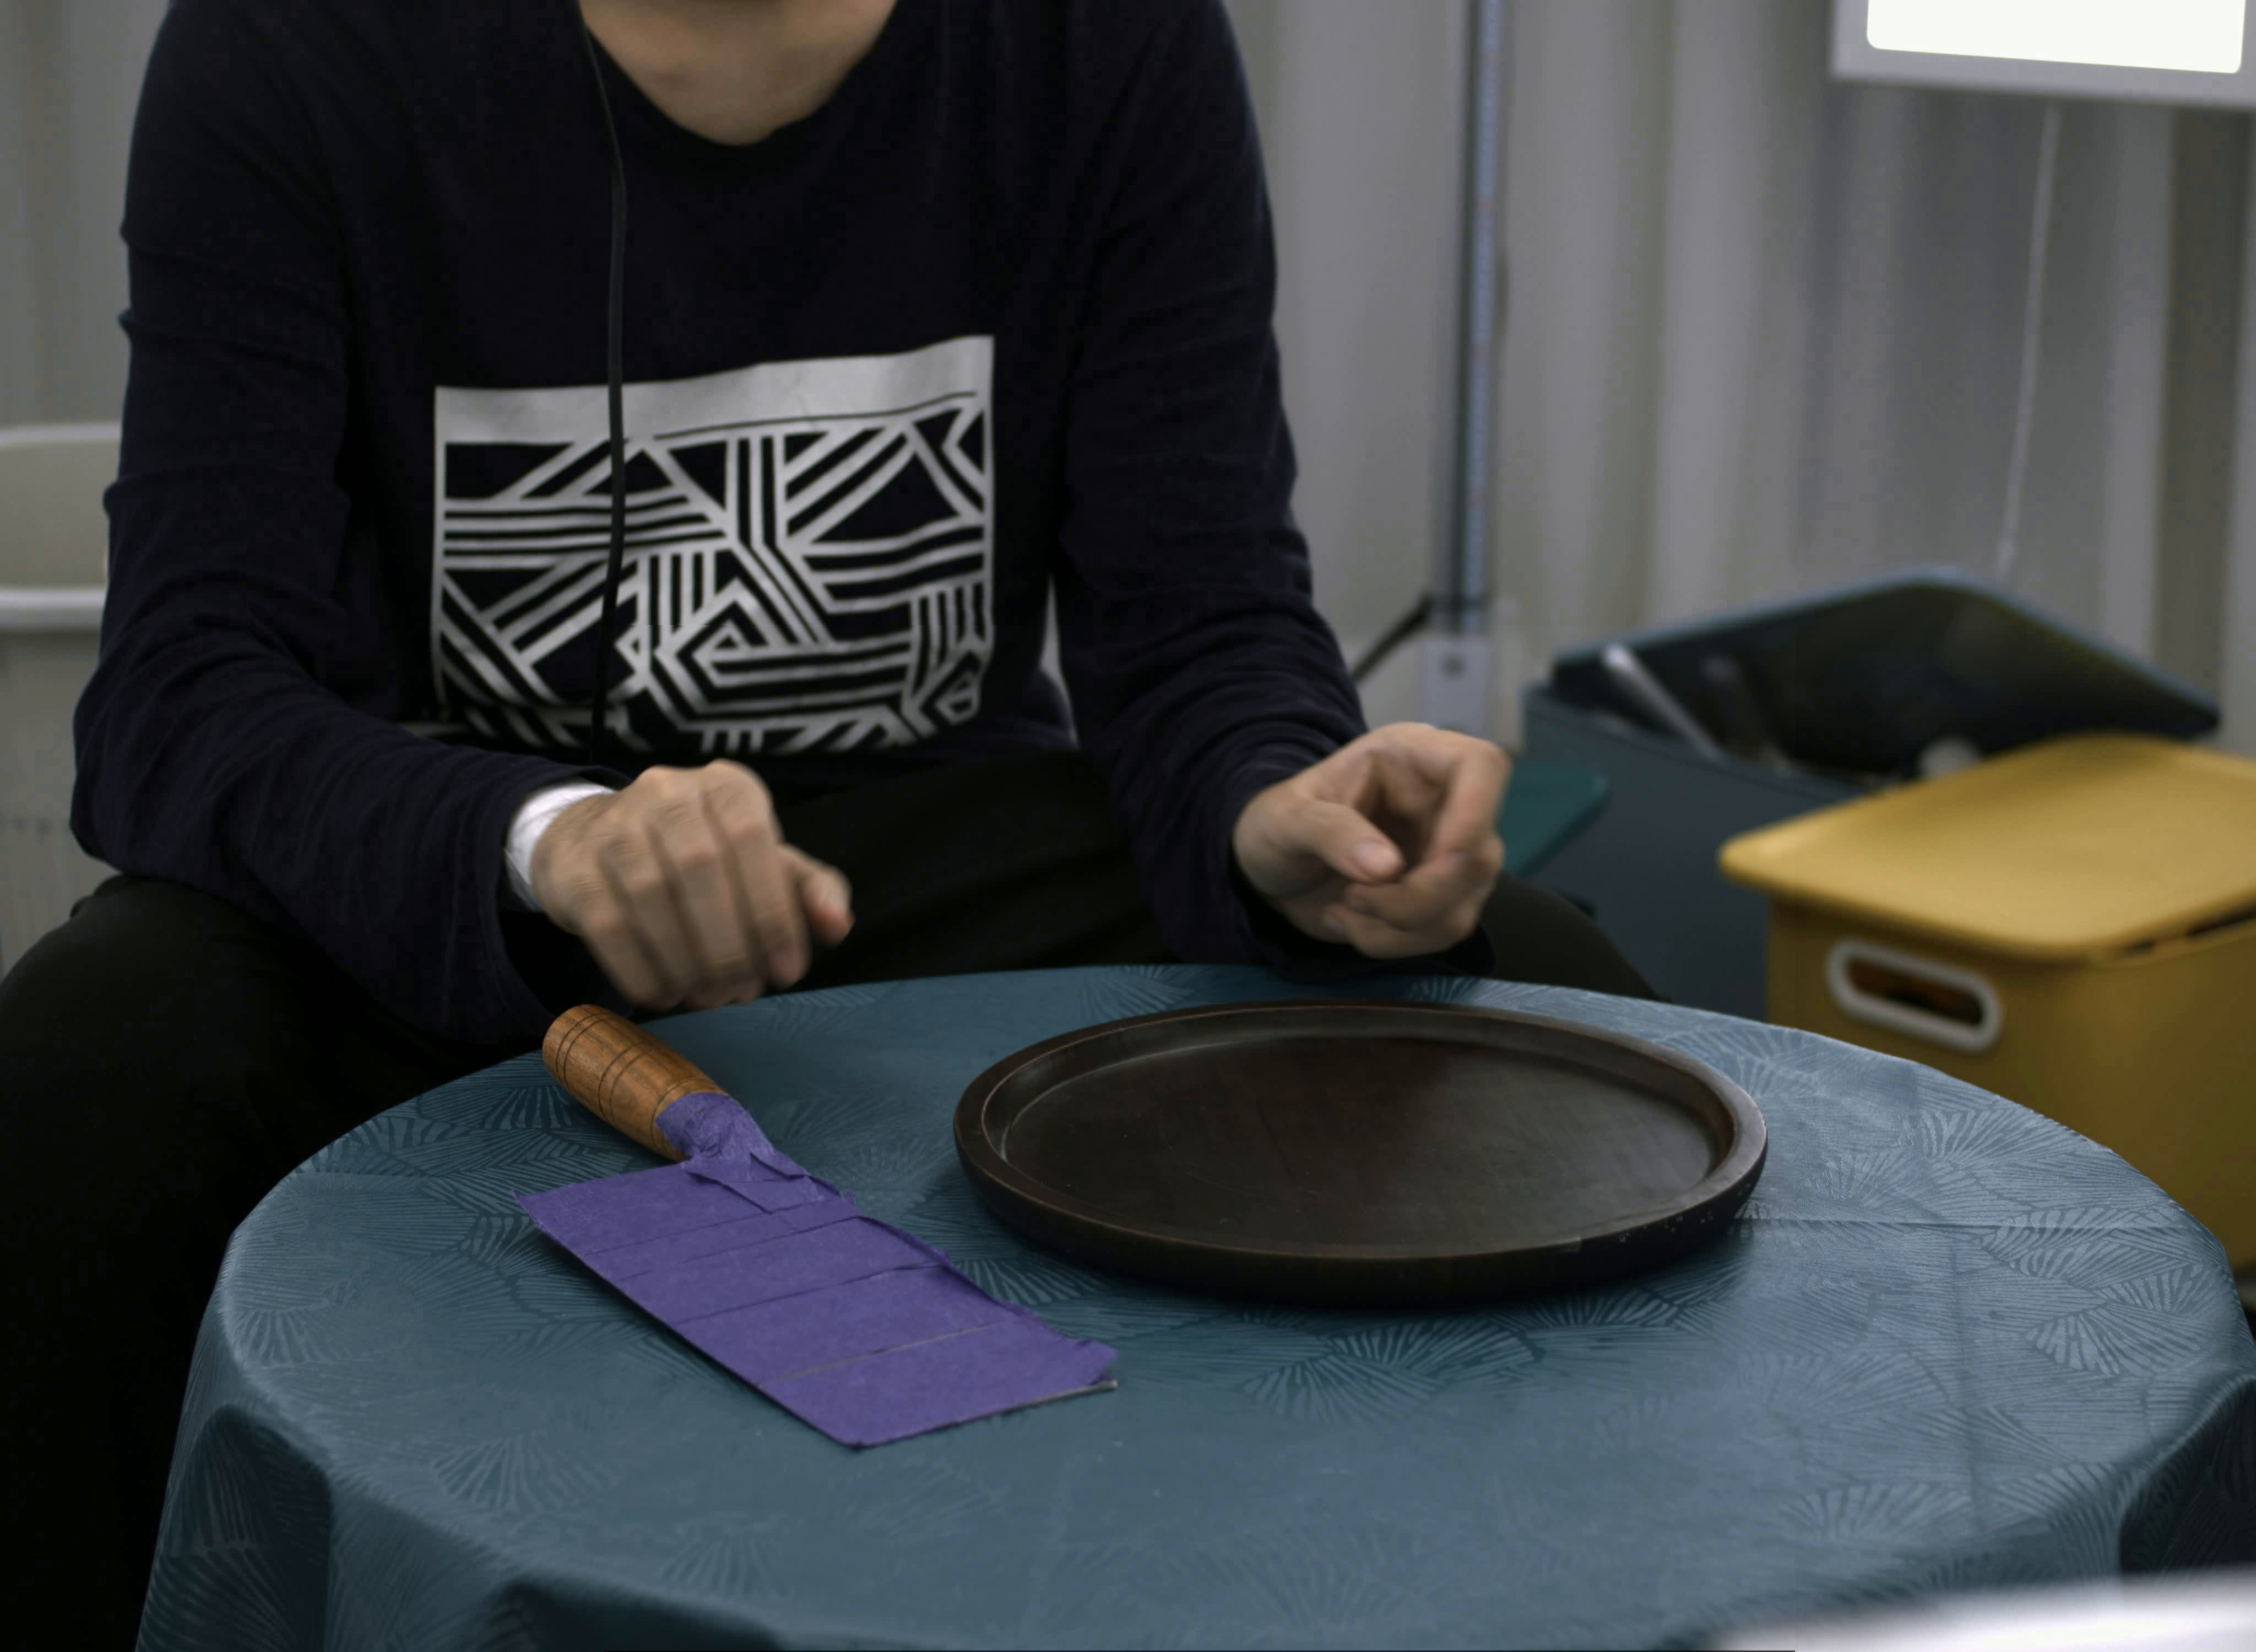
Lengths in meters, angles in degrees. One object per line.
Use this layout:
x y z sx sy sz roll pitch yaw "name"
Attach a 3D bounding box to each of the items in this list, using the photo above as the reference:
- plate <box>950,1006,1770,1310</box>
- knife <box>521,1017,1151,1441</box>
0.071 0.099 1.629 0.254 0.029 0.253 1 16 0 "plate"
-0.120 0.115 1.559 0.104 0.032 0.311 -9 19 -33 "knife"
